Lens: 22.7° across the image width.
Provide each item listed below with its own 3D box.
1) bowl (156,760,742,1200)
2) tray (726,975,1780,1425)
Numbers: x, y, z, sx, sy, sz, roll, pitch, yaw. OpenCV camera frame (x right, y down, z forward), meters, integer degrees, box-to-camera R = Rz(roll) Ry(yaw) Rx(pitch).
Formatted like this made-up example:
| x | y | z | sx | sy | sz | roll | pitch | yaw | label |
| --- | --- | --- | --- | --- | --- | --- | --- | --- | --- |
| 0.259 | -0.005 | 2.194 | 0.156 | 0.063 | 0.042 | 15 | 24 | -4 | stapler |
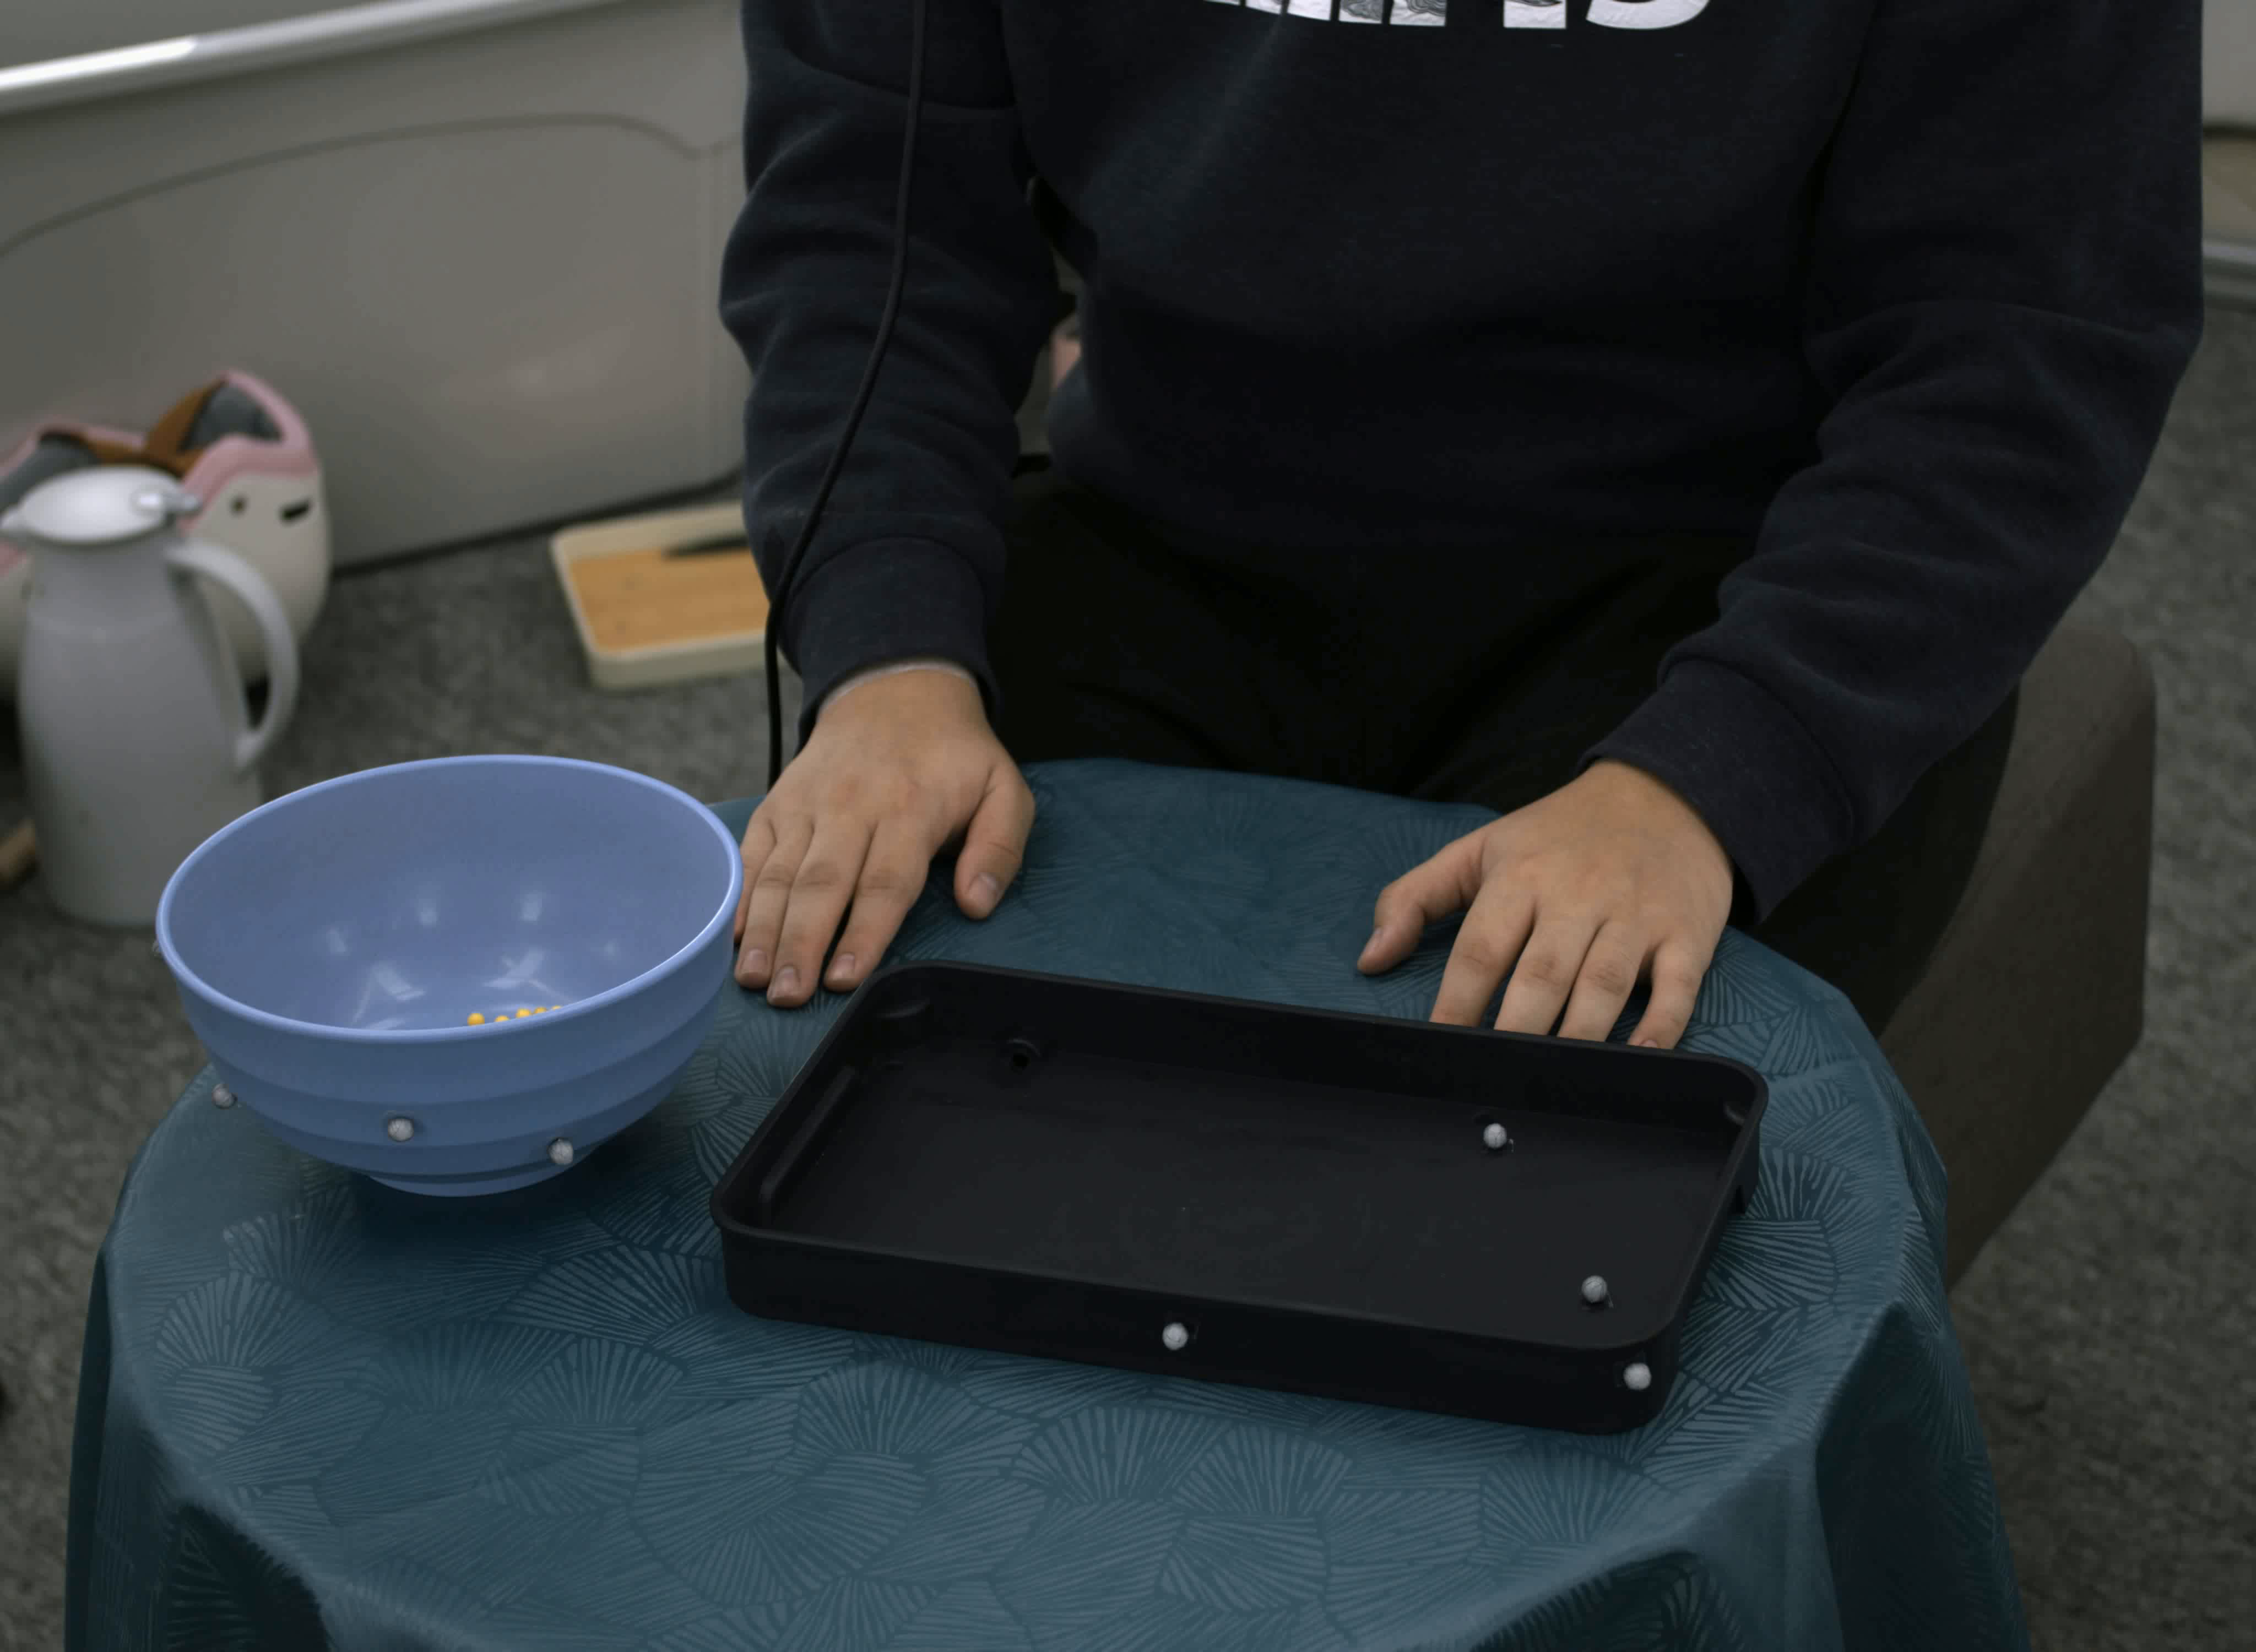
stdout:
| x | y | z | sx | sy | sz | roll | pitch | yaw | label |
| --- | --- | --- | --- | --- | --- | --- | --- | --- | --- |
| -0.224 | 0.063 | 1.898 | 0.195 | 0.094 | 0.199 | -3 | 27 | 2 | bowl |
| 0.043 | 0.119 | 1.831 | 0.316 | 0.036 | 0.187 | 5 | 28 | 16 | tray |
